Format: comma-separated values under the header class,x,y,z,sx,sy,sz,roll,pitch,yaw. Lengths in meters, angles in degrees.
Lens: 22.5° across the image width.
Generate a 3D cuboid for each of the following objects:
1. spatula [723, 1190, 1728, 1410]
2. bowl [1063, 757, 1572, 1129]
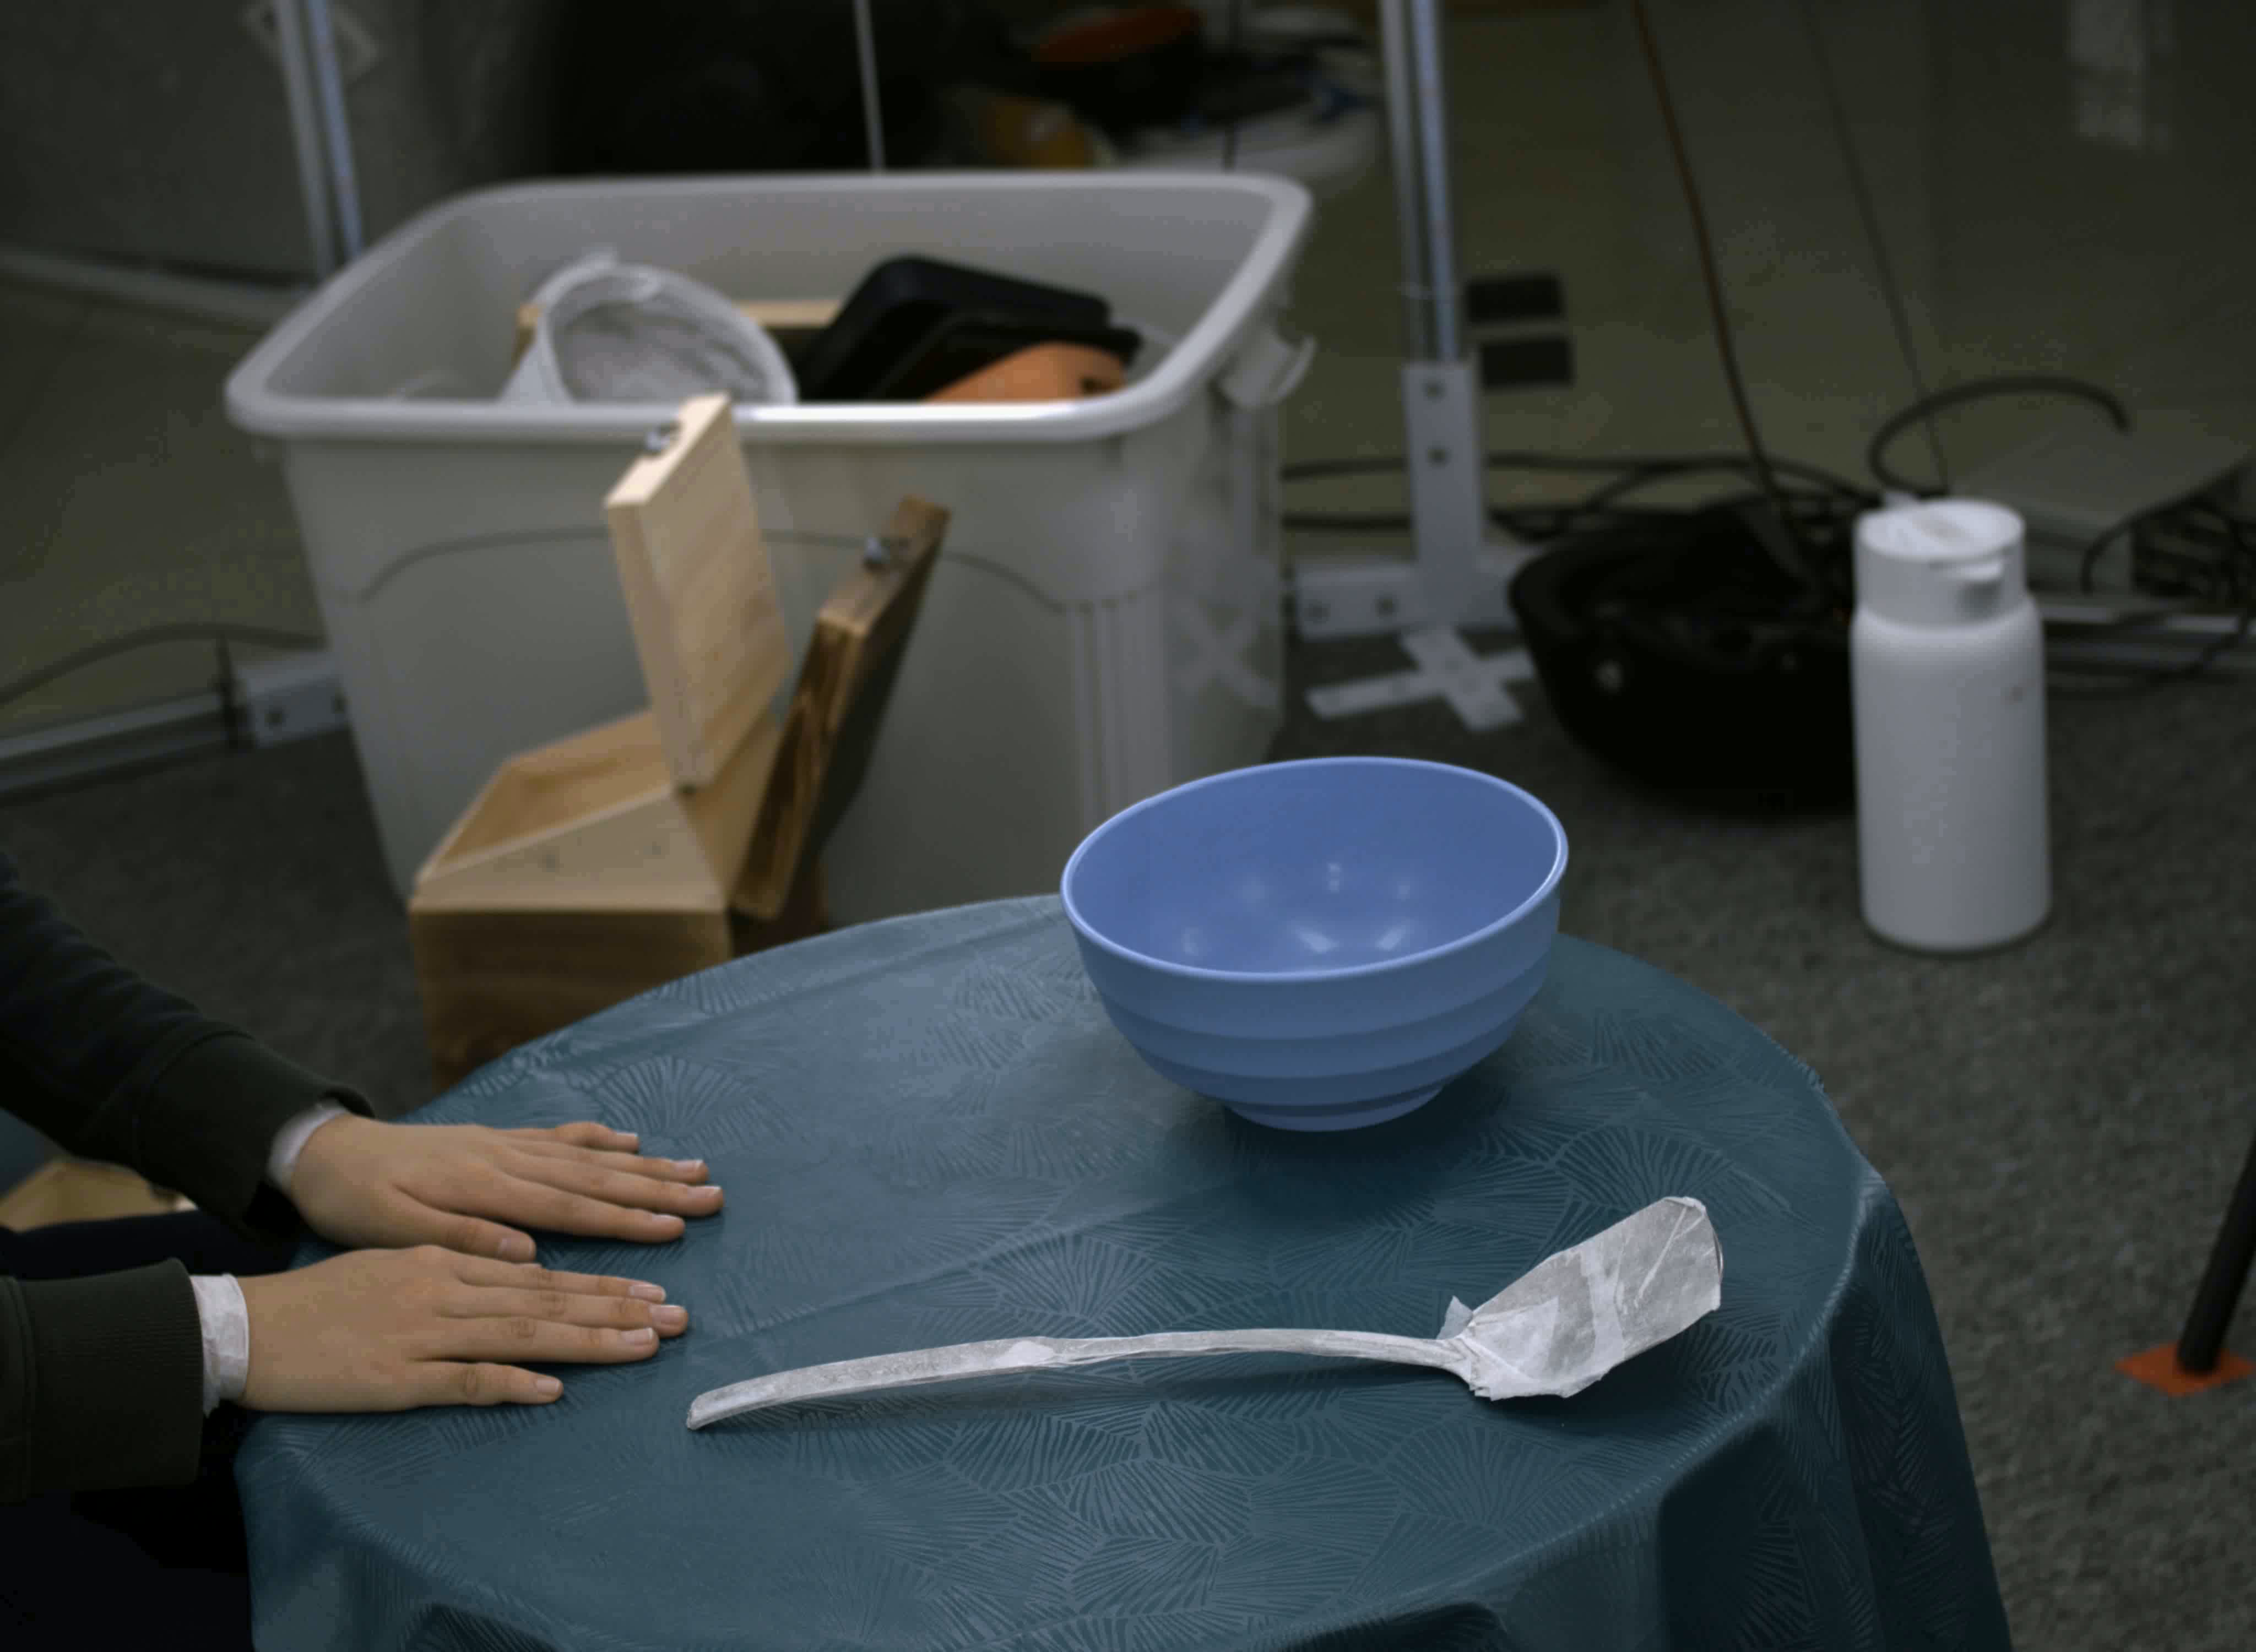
class,x,y,z,sx,sy,sz,roll,pitch,yaw
spatula,0.031,0.179,2.014,0.364,0.045,0.097,-4,27,5
bowl,0.075,0.055,2.197,0.196,0.097,0.193,-3,25,1
